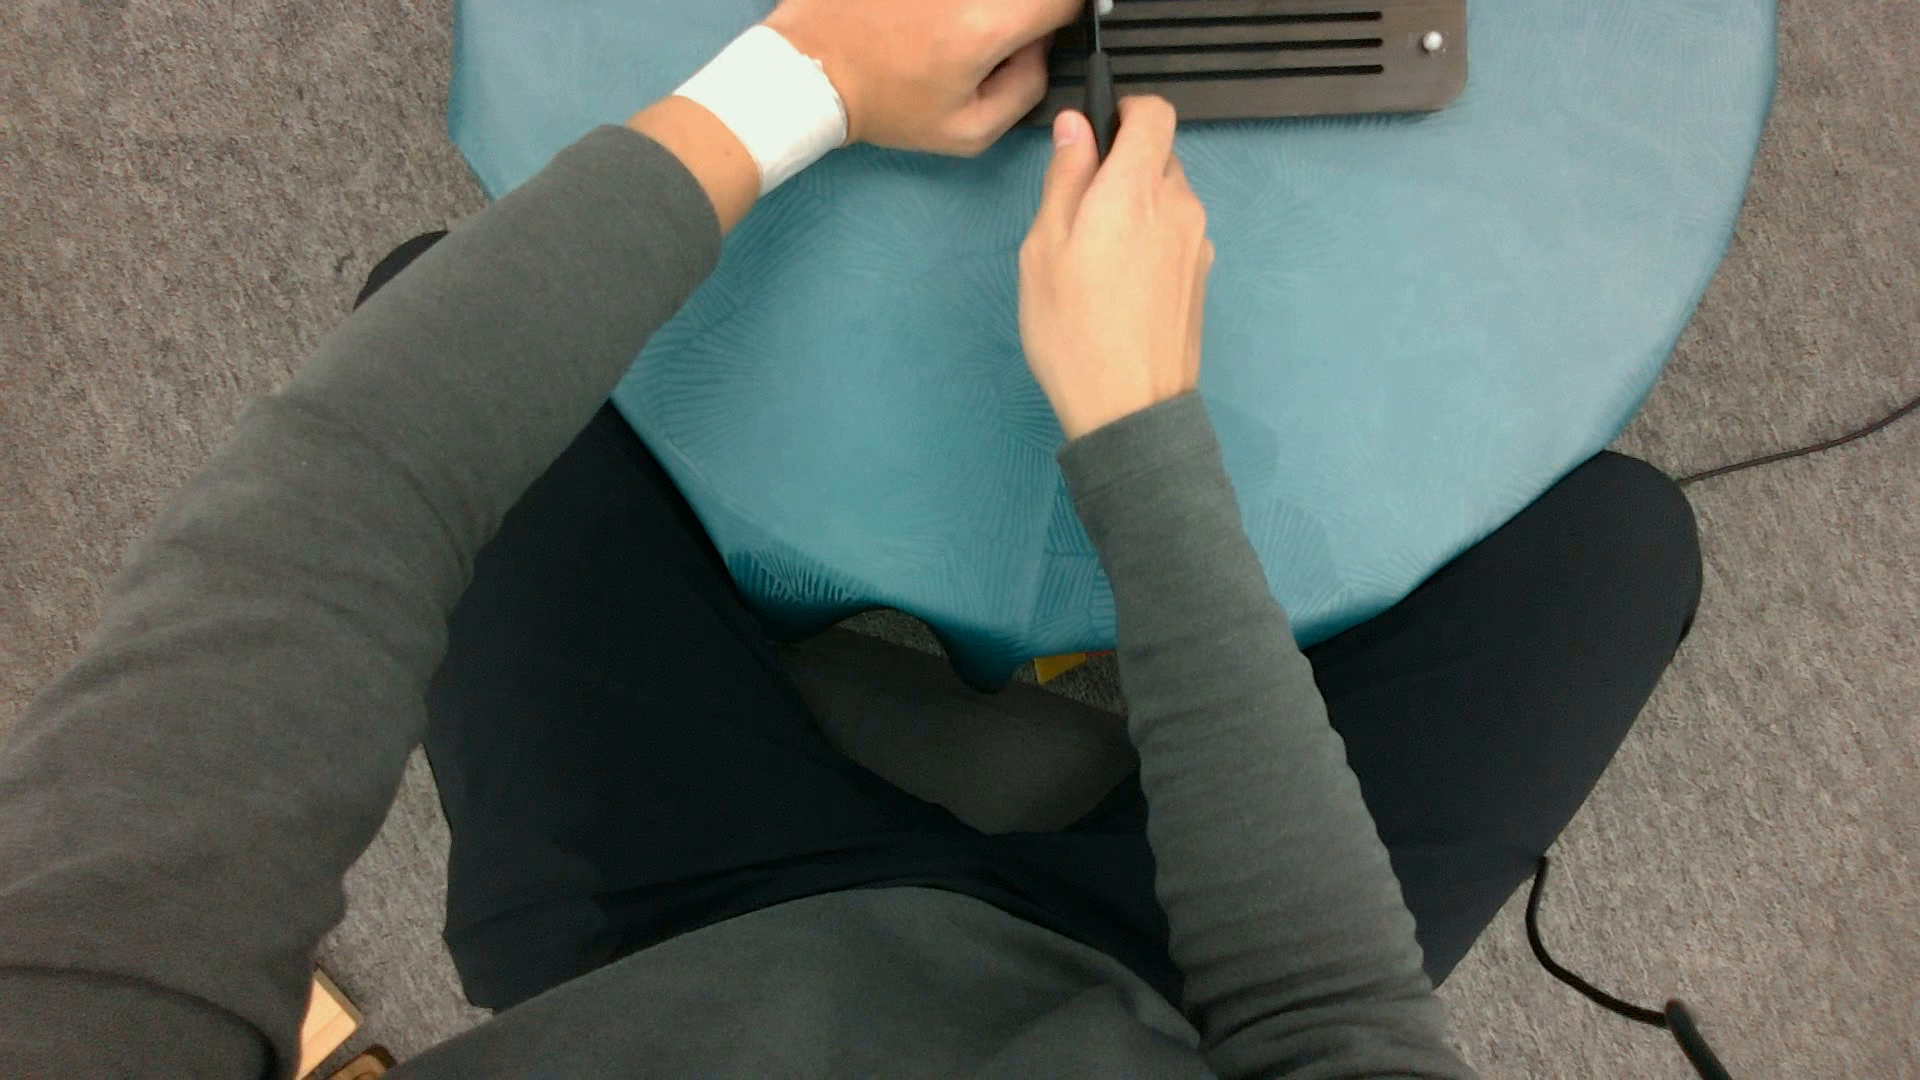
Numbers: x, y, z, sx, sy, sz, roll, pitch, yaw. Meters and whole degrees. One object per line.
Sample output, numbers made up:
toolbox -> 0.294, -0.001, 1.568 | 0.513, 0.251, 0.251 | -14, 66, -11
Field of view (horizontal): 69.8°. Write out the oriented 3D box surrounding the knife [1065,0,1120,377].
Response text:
knife -> 0.049, -0.219, 0.571 | 0.021, 0.081, 0.302 | -3, 89, 3

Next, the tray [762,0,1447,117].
tray -> 0.064, -0.278, 0.615 | 0.306, 0.018, 0.170 | -2, 93, -2
